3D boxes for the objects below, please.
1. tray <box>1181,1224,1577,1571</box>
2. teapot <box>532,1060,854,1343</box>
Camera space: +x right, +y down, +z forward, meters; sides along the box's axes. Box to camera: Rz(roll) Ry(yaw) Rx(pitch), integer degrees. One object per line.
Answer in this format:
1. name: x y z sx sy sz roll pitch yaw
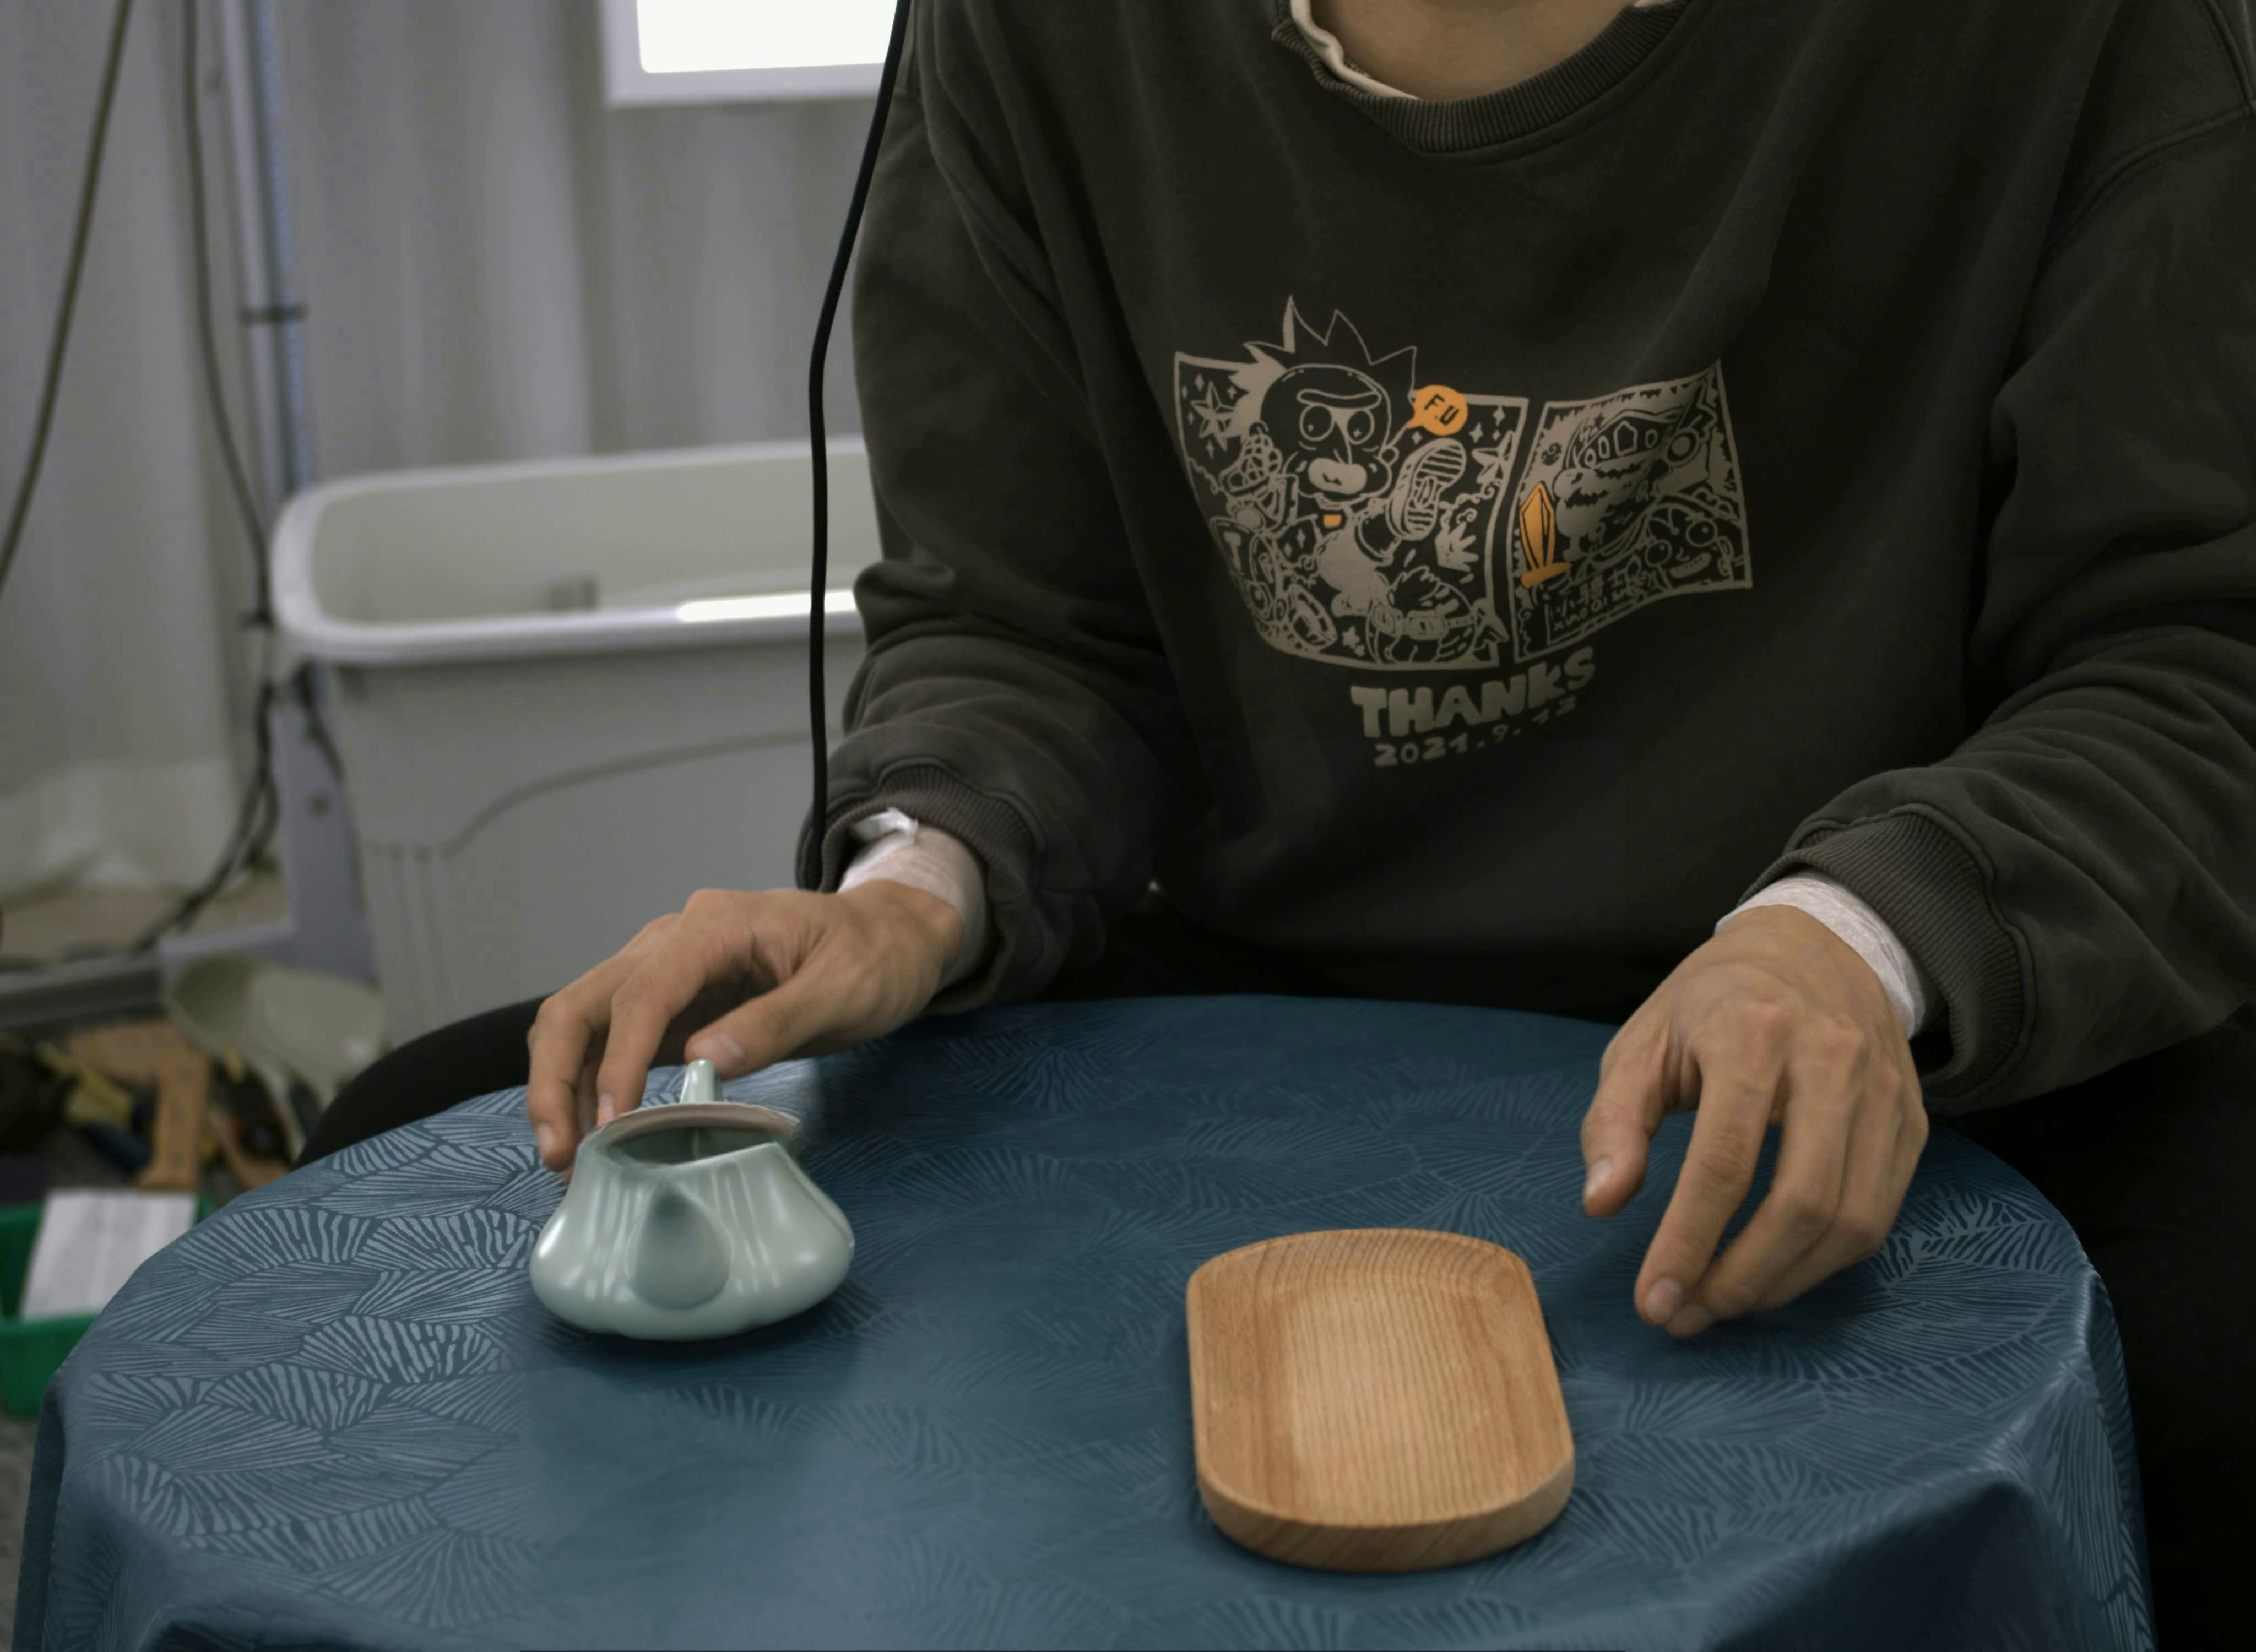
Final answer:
1. tray: 0.068 0.156 1.522 0.101 0.020 0.232 -3 14 -1
2. teapot: -0.130 0.115 1.631 0.096 0.061 0.138 -5 15 -1
